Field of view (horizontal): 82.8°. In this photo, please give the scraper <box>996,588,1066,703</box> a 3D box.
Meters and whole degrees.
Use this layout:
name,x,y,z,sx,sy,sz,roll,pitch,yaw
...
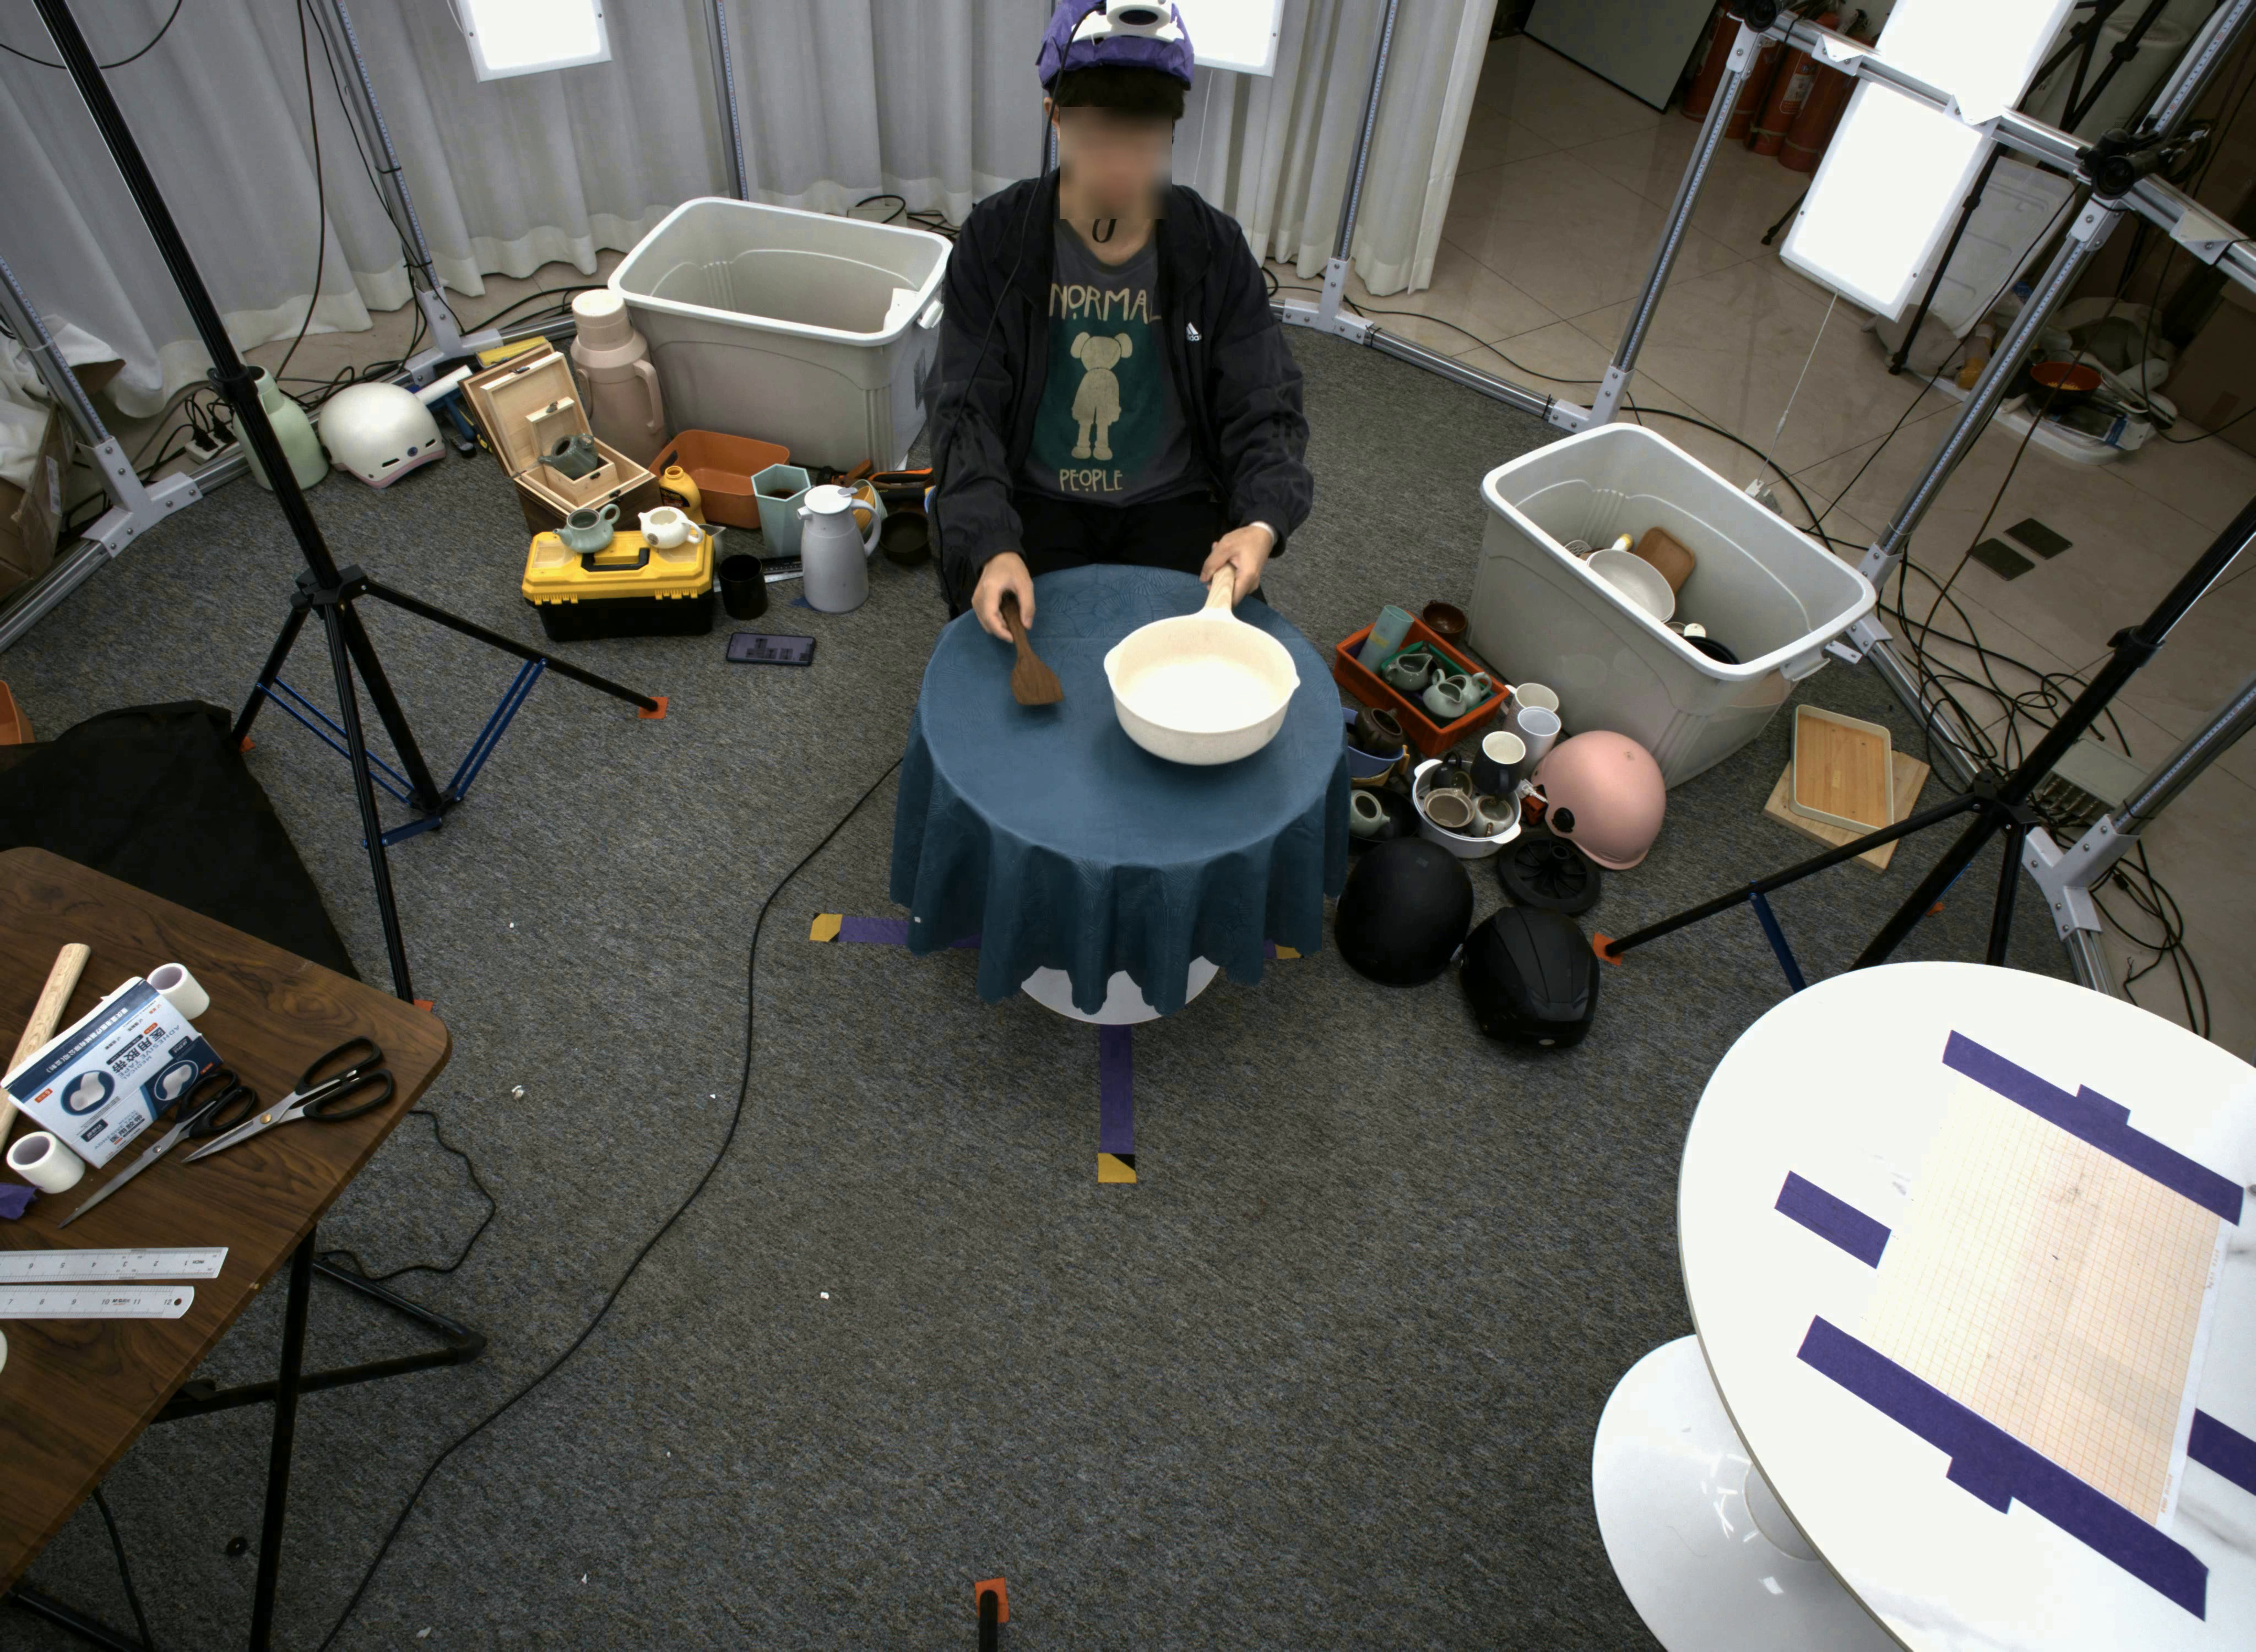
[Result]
name,x,y,z,sx,sy,sz,roll,pitch,yaw
scraper,-0.149,-0.257,1.820,0.076,0.010,0.216,-7,58,-21

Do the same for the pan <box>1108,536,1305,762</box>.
name,x,y,z,sx,sy,sz,roll,pitch,yaw
pan,0.121,-0.250,1.803,0.264,0.099,0.445,5,43,9
